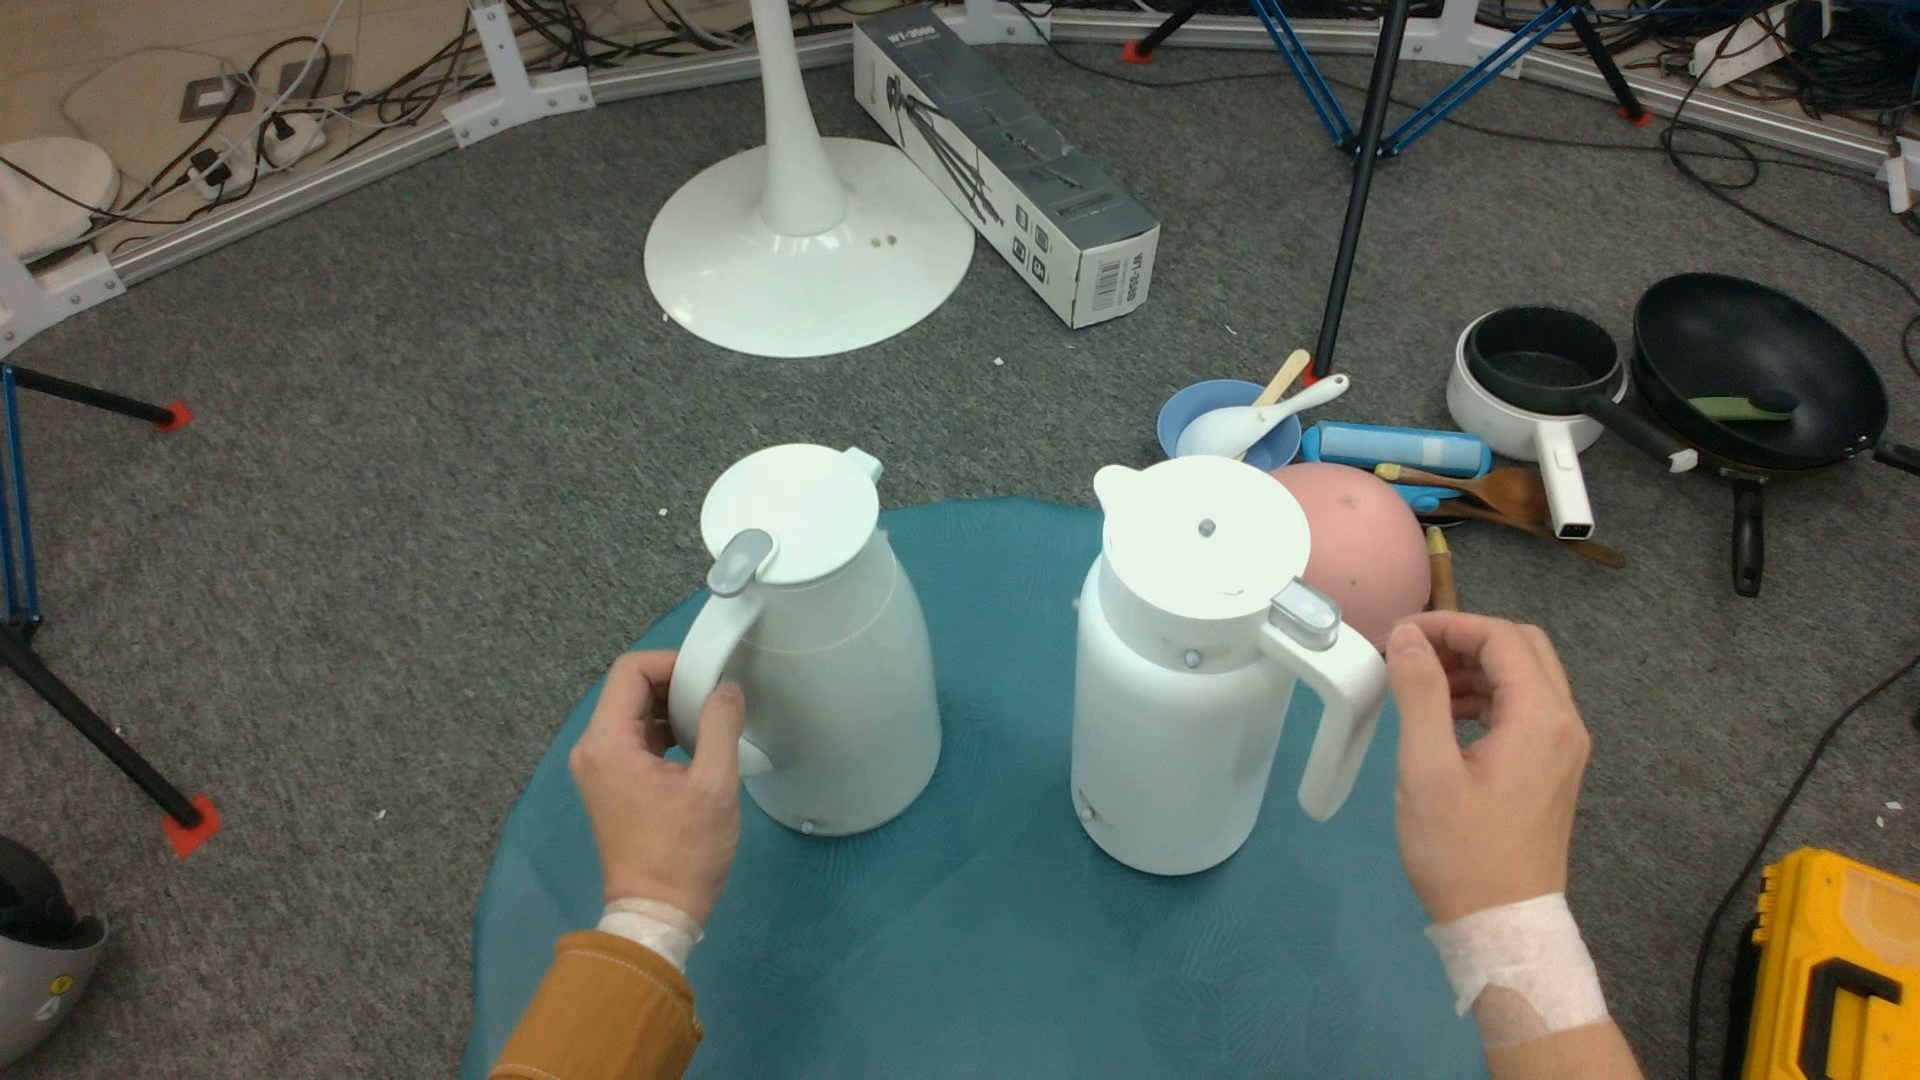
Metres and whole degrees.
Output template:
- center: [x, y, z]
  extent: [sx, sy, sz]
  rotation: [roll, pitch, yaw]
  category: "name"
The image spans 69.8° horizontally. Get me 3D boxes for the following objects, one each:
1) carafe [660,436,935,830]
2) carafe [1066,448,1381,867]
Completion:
- center: [-0.097, 0.065, 0.781]
  extent: [0.132, 0.247, 0.168]
  rotation: [27, 59, 21]
  category: "carafe"
- center: [0.132, 0.081, 0.749]
  extent: [0.173, 0.267, 0.124]
  rotation: [37, 60, 26]
  category: "carafe"
